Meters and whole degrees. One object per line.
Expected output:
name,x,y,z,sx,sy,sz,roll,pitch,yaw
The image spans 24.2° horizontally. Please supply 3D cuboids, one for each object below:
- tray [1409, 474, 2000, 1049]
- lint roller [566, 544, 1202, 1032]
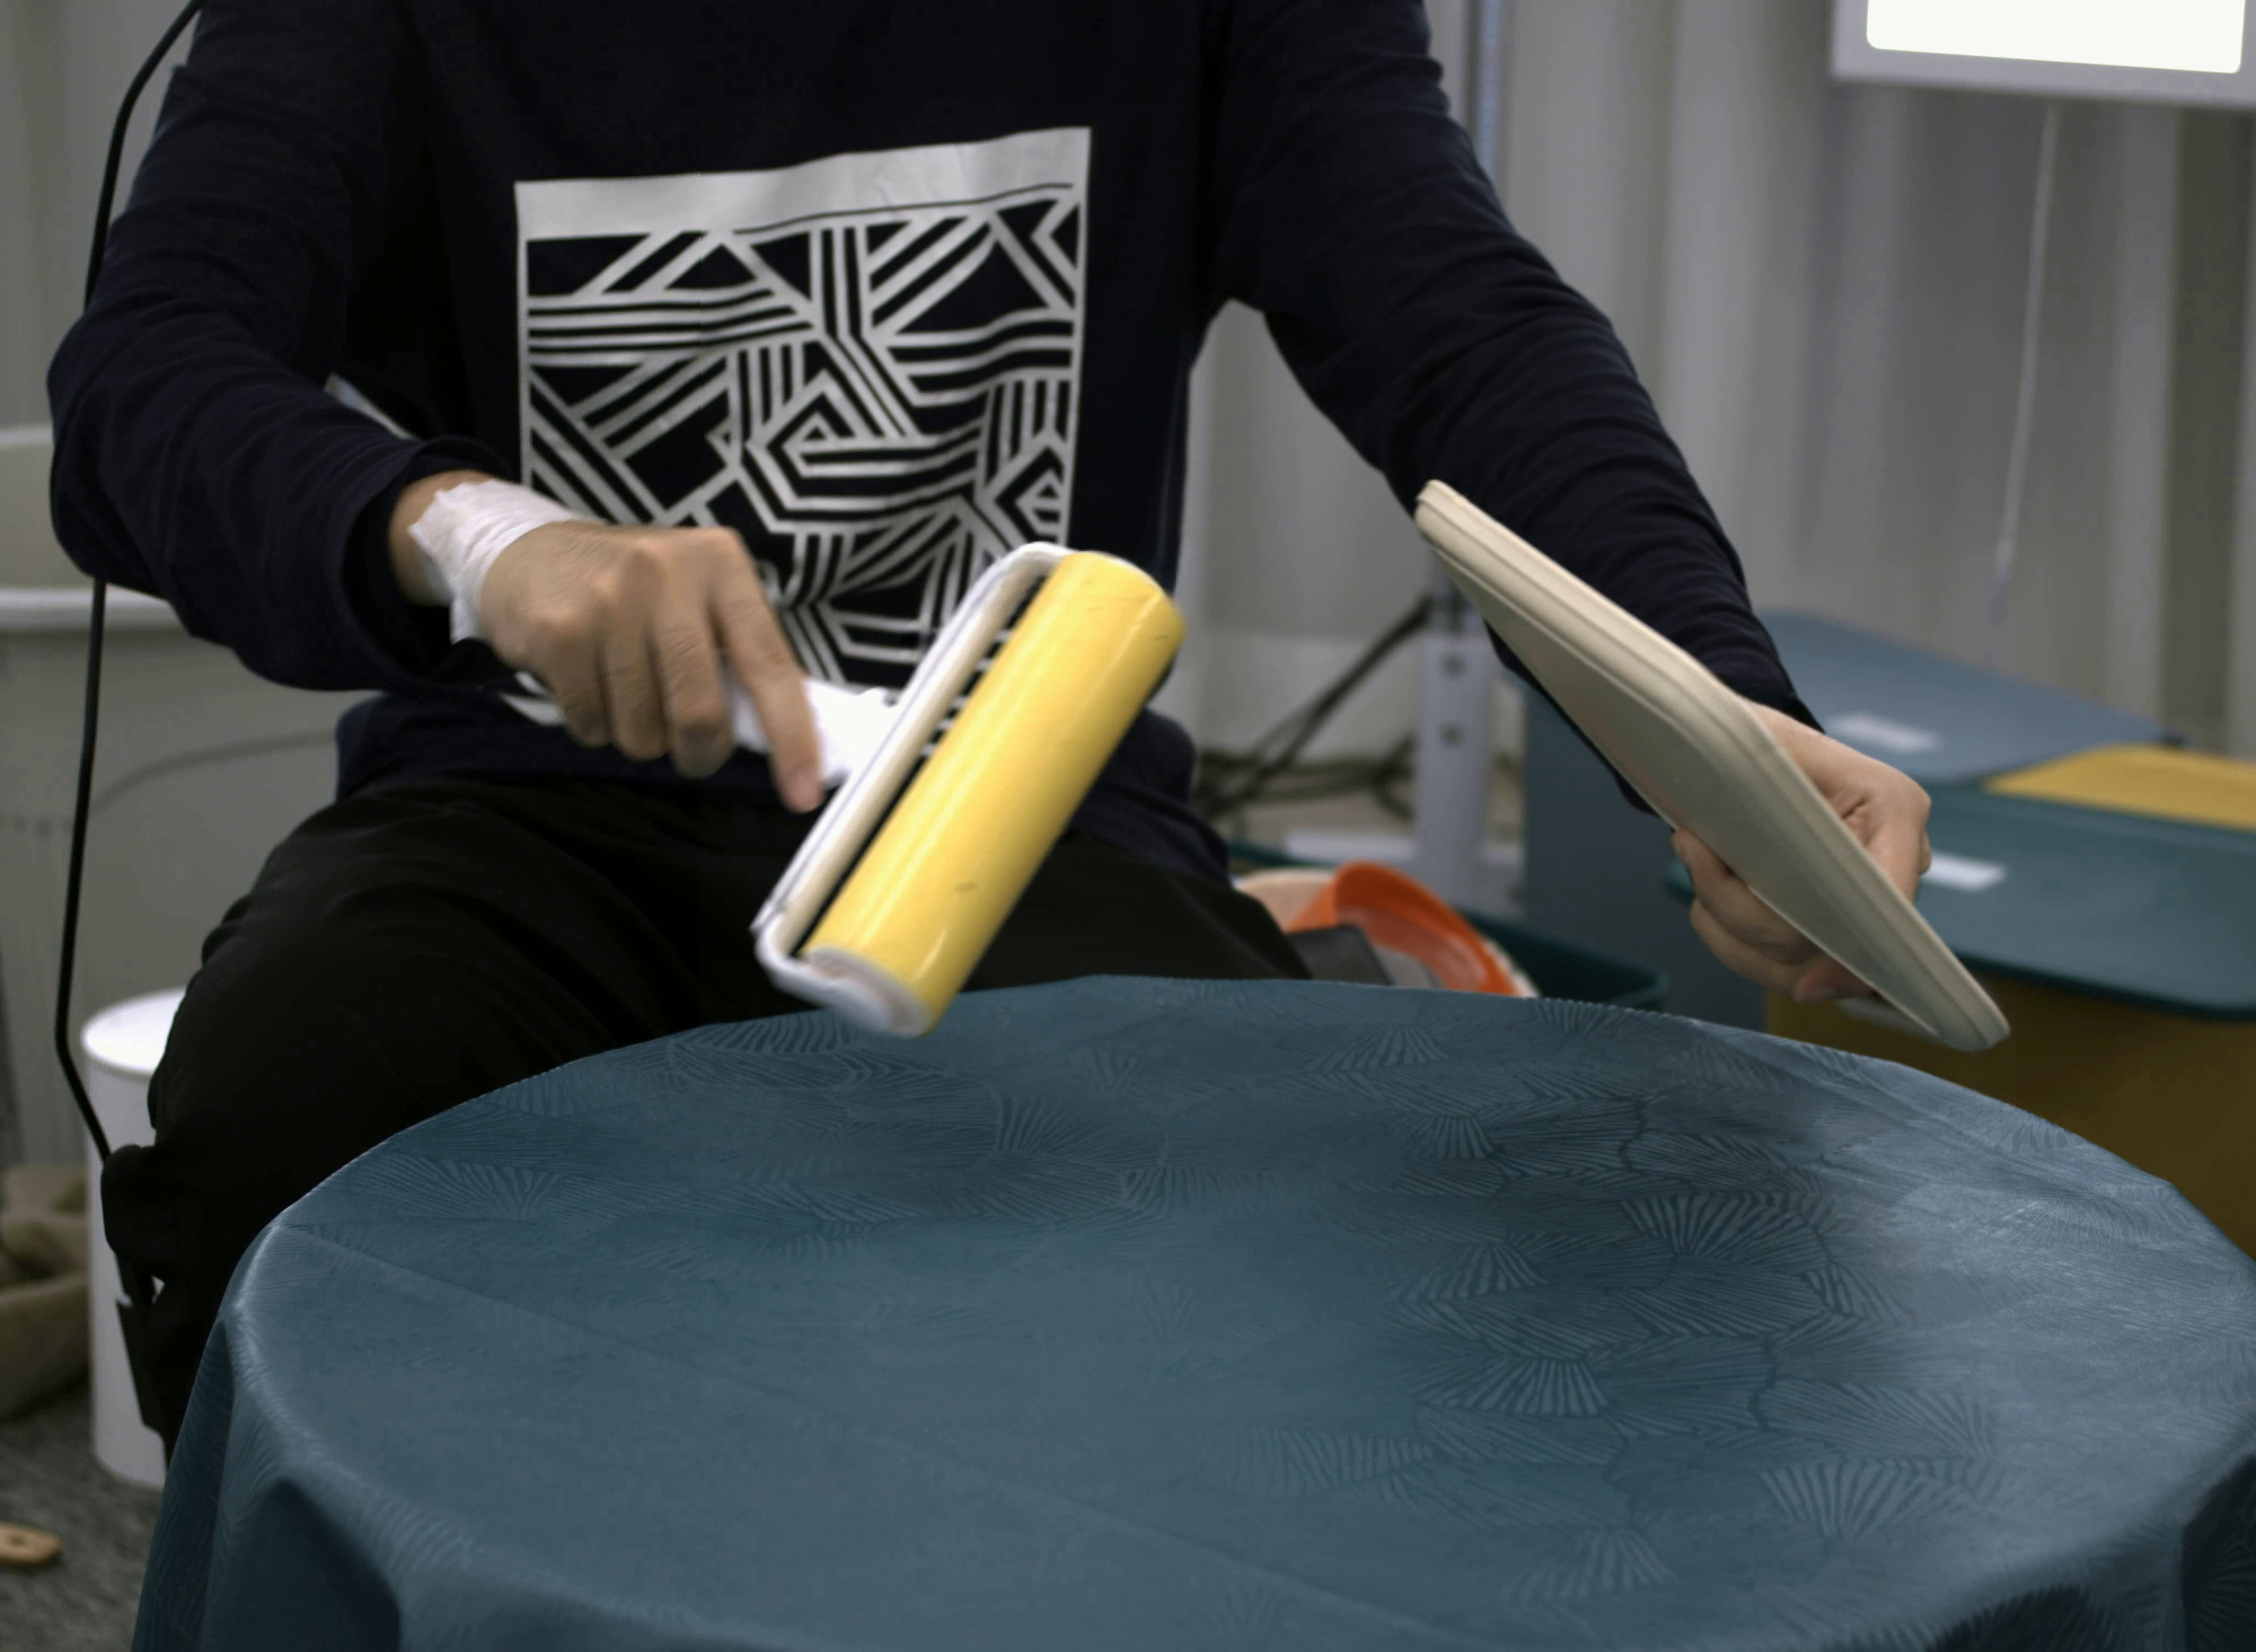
tray,0.171,-0.020,1.615,0.017,0.173,0.237,-43,28,-1
lint roller,-0.098,-0.038,1.672,0.190,0.052,0.174,23,63,15
